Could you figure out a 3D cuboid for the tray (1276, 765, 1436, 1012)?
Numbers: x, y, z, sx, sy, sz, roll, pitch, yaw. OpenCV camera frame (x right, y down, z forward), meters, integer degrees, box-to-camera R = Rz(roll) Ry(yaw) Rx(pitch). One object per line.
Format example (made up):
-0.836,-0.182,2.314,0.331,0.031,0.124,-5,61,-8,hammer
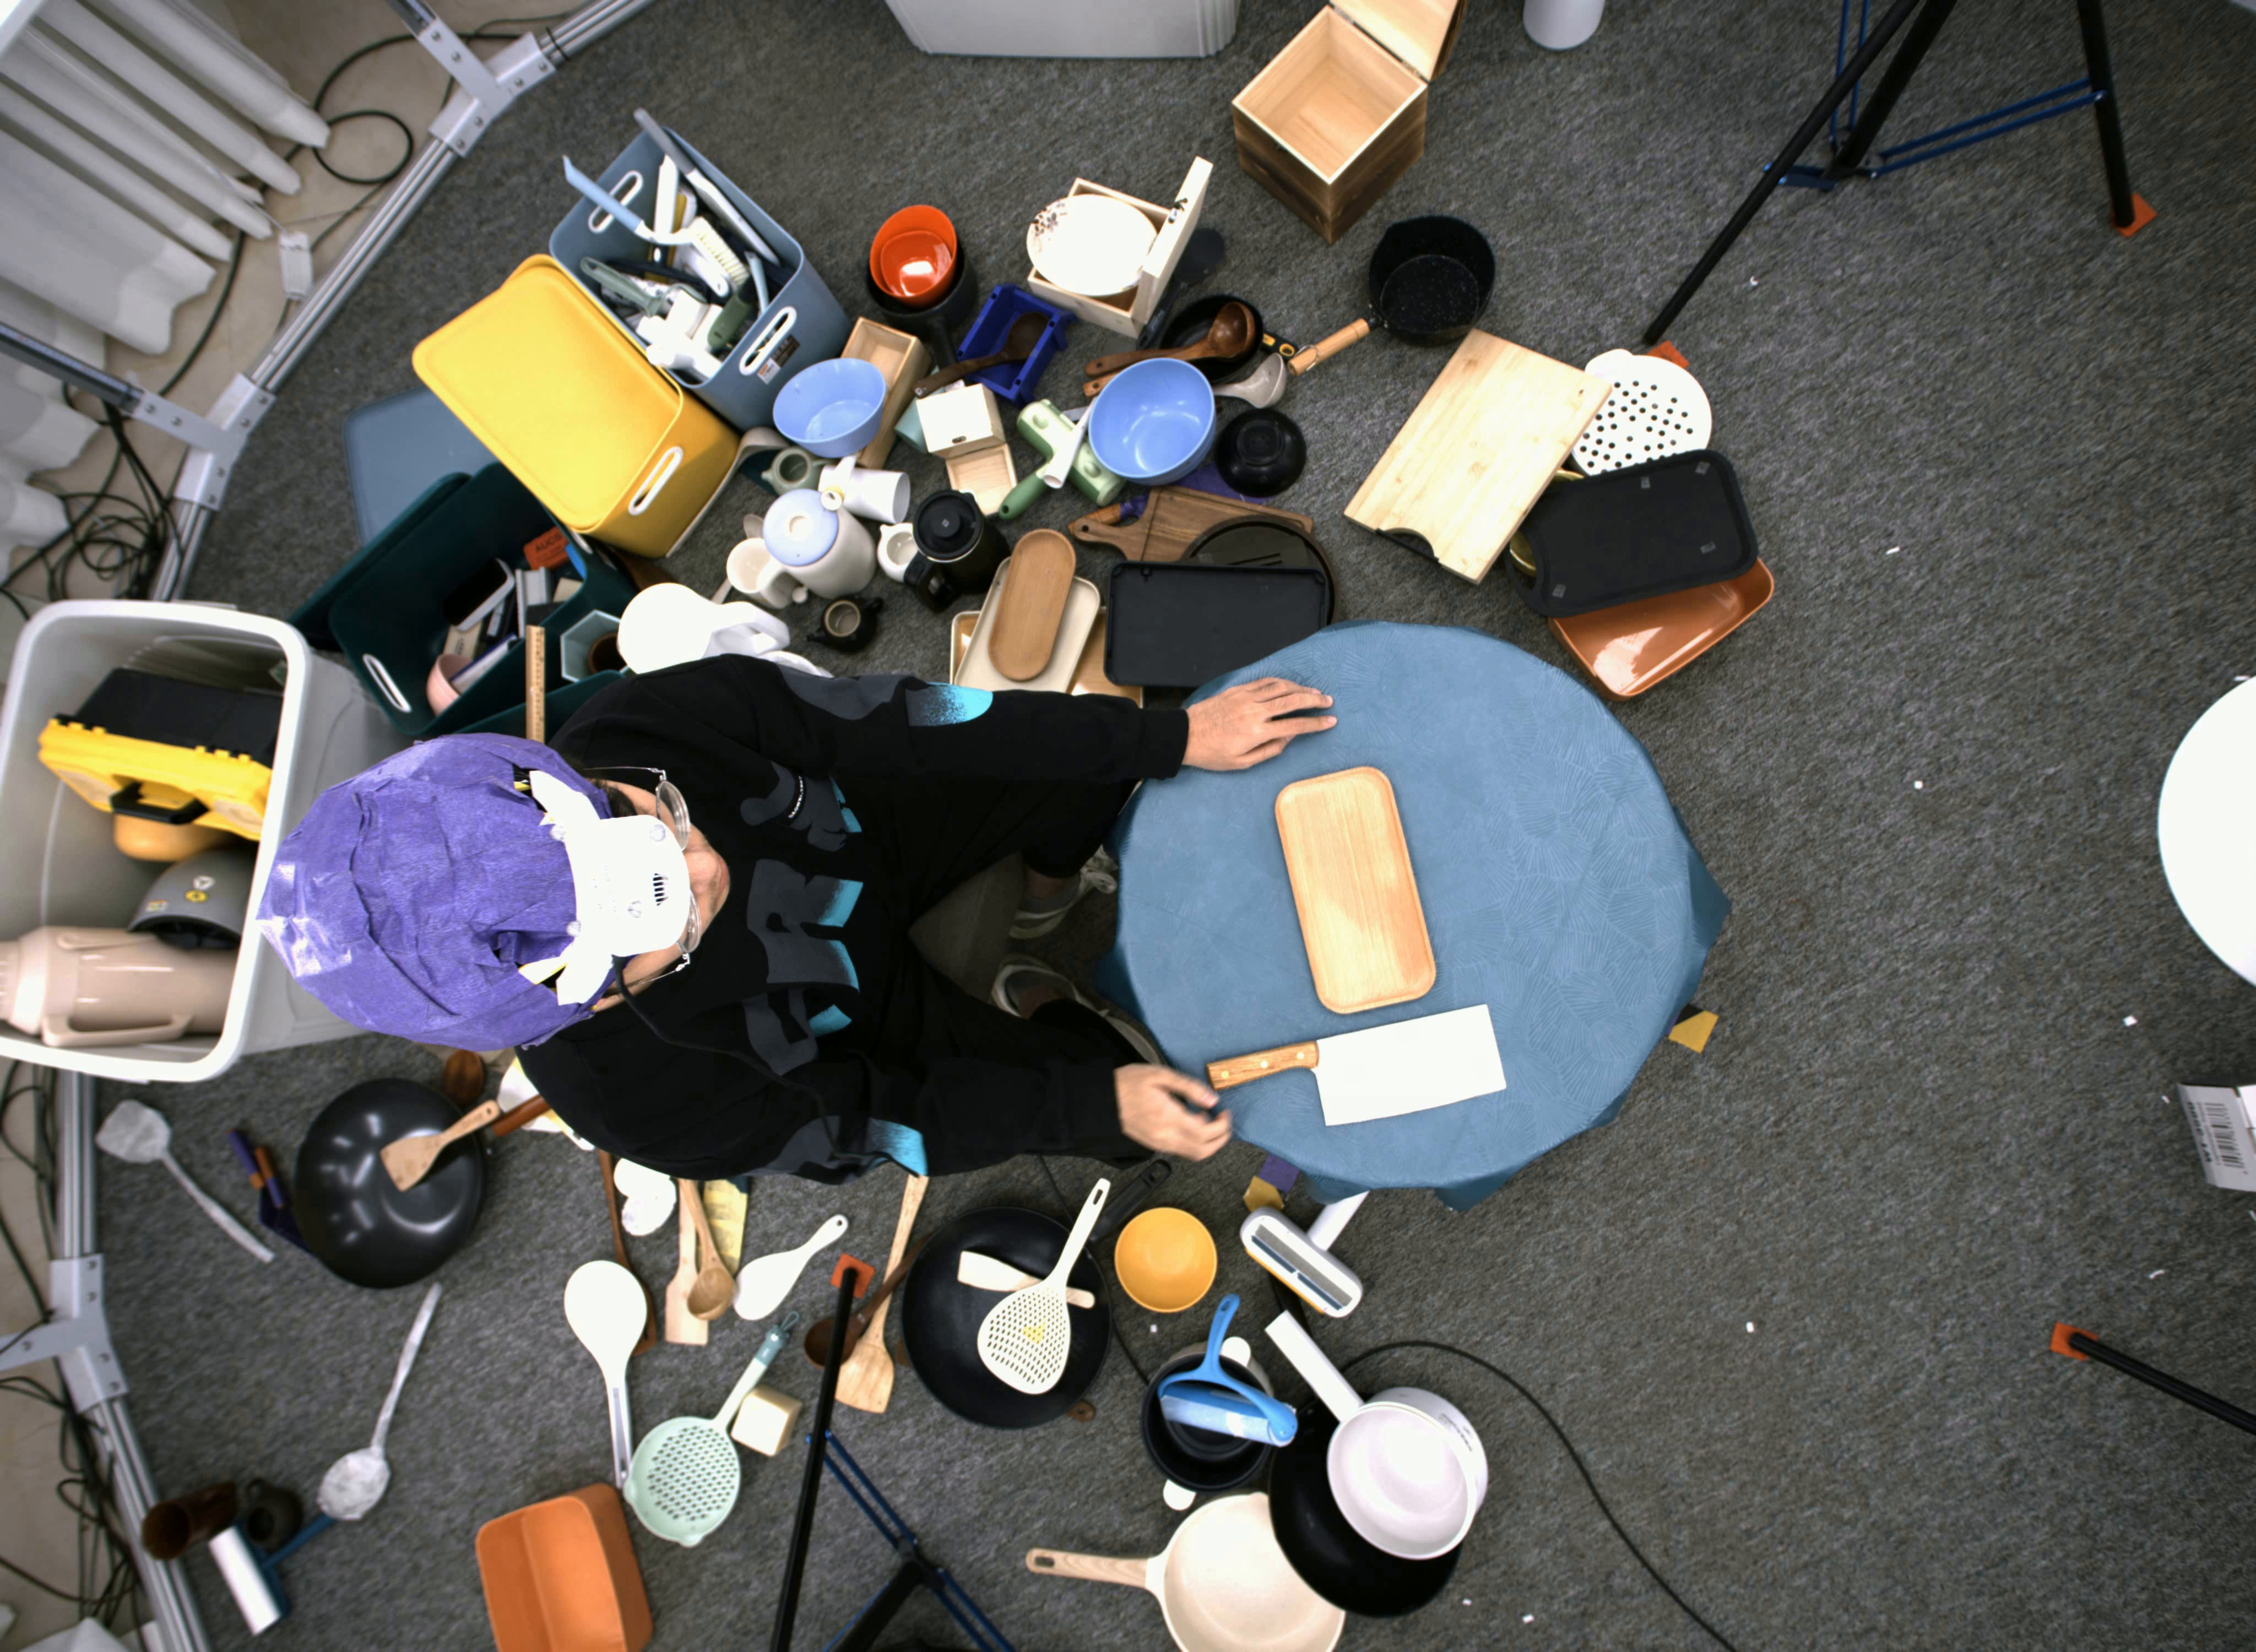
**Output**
0.240,0.065,1.458,0.131,0.023,0.249,-11,84,8,tray

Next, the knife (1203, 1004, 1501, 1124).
0.234,0.258,1.449,0.307,0.021,0.092,-13,86,7,knife
